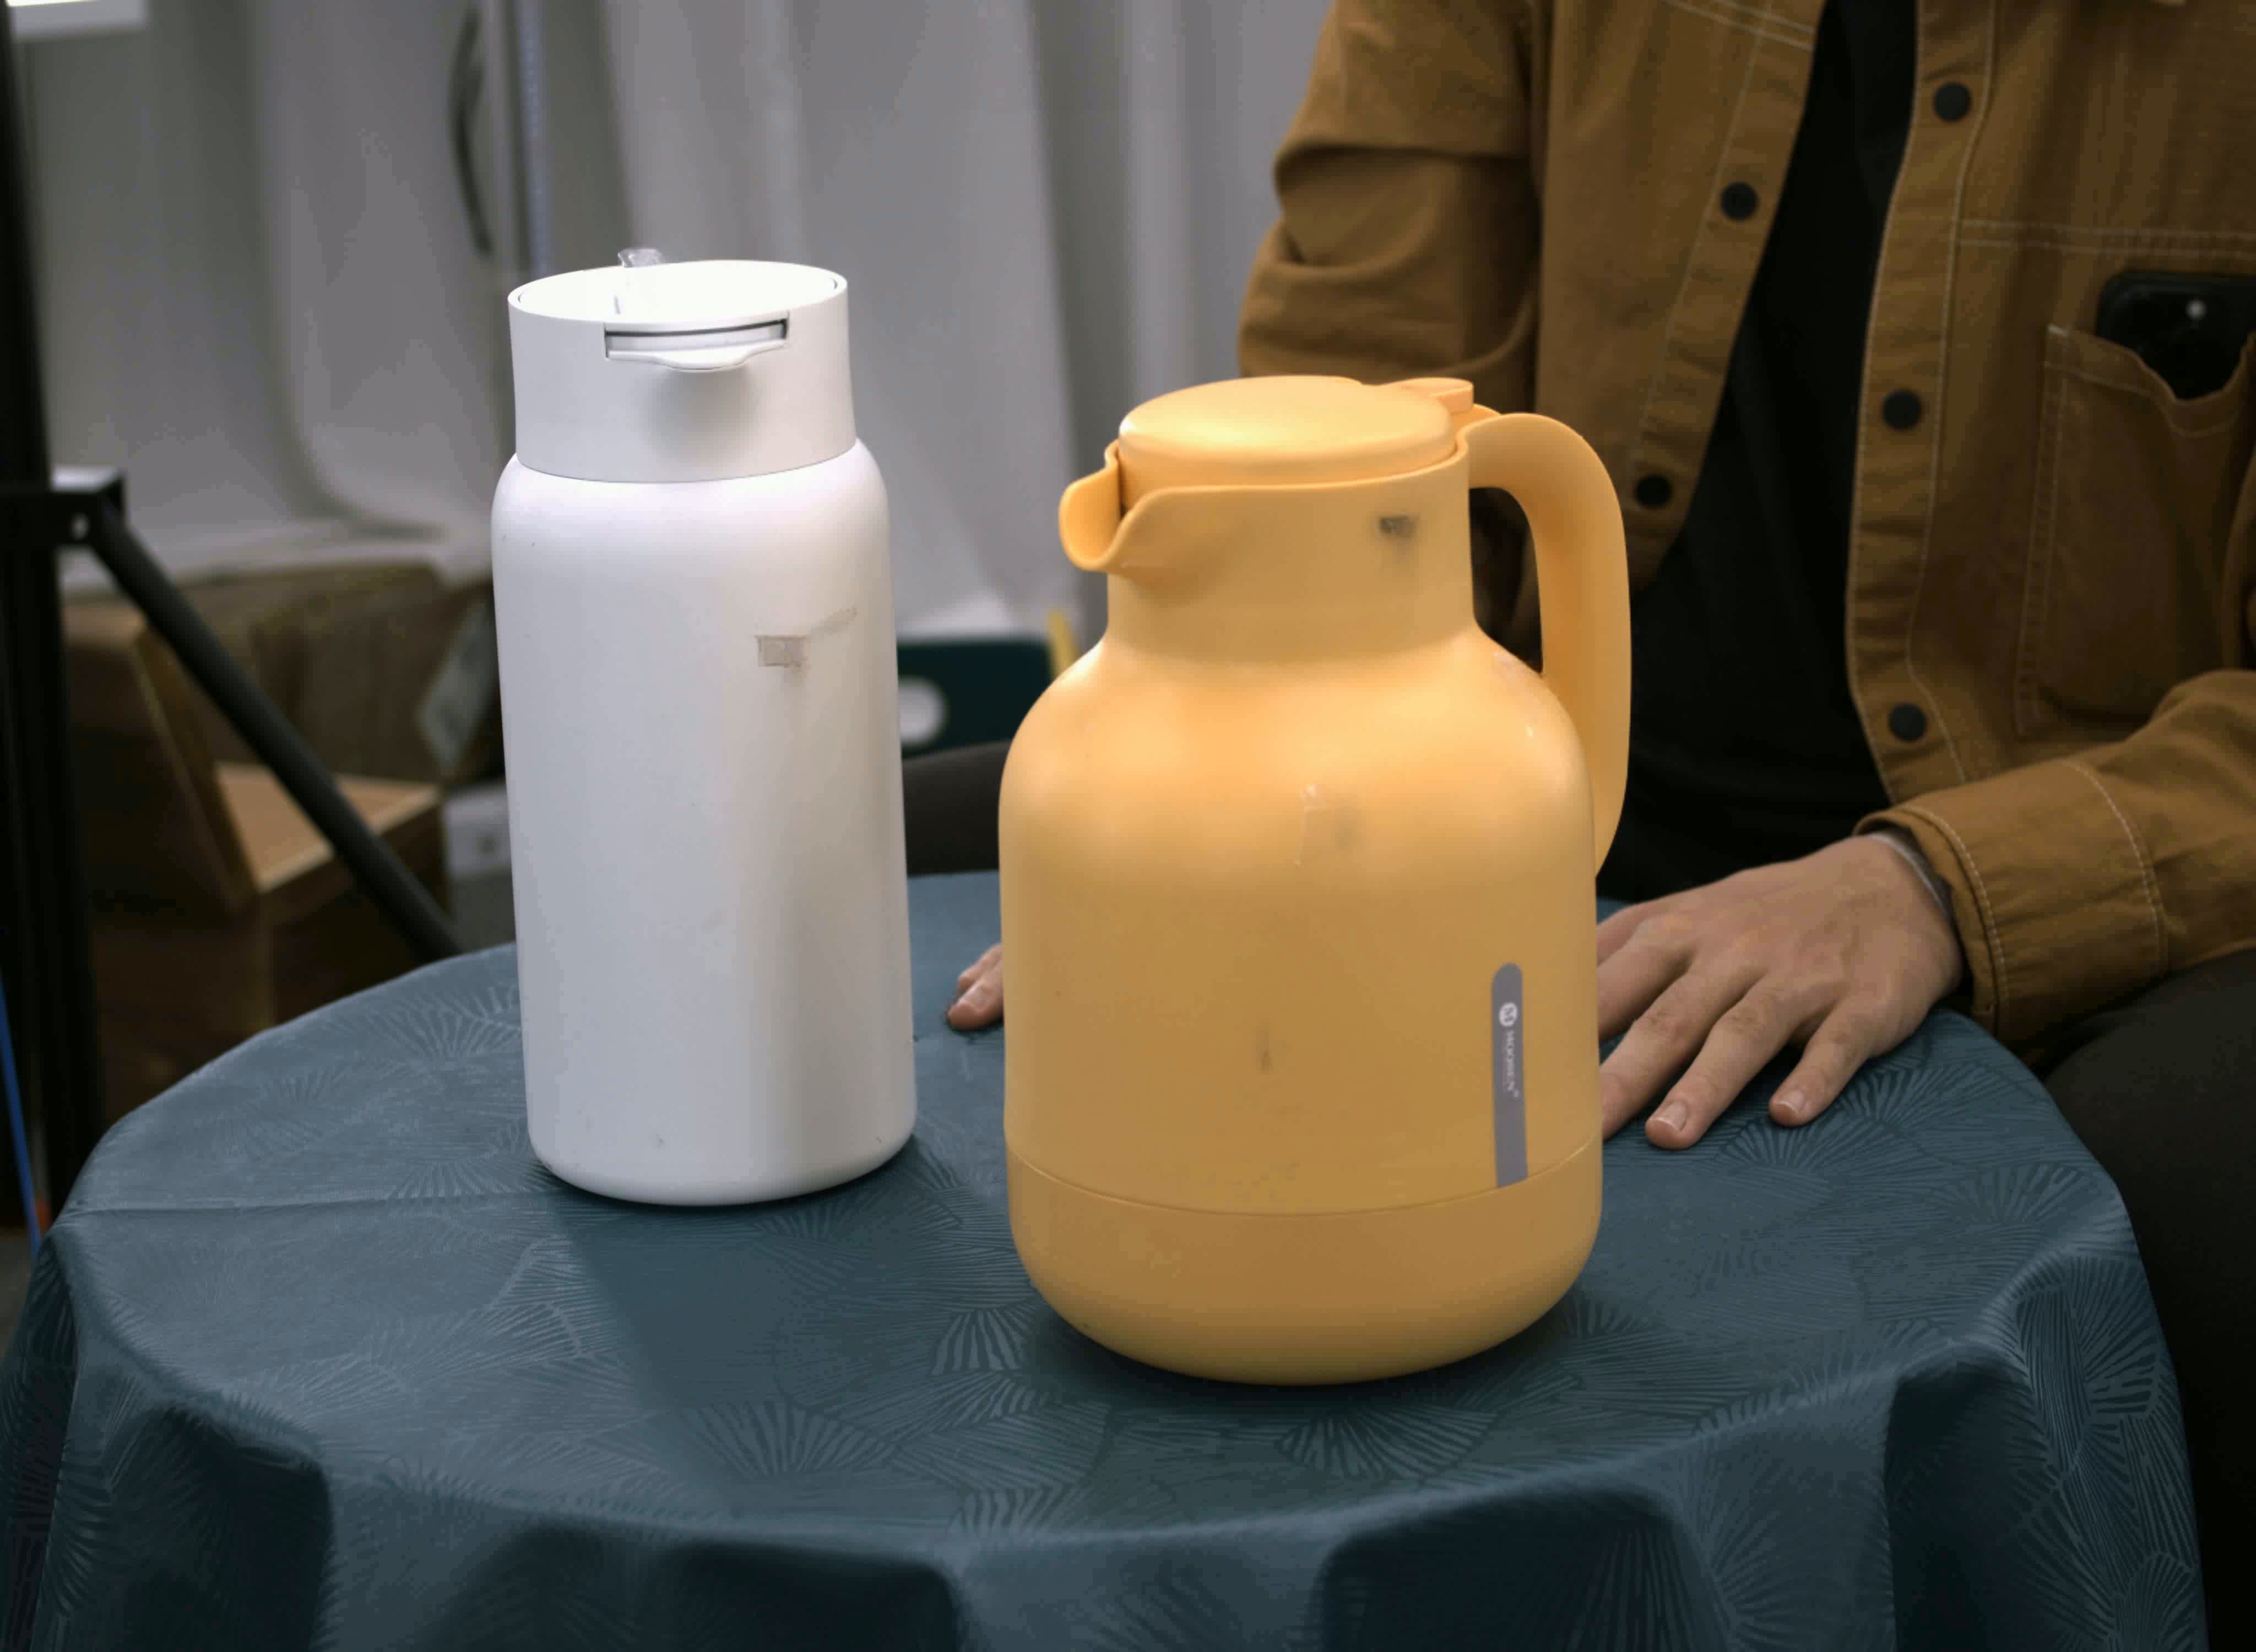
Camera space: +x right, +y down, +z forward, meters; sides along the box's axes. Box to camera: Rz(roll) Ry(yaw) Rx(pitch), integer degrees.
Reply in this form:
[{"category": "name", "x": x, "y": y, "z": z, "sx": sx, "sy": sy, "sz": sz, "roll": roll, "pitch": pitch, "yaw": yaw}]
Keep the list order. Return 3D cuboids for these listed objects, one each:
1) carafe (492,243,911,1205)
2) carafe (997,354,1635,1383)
[{"category": "carafe", "x": -0.131, "y": -0.034, "z": 1.591, "sx": 0.122, "sy": 0.269, "sz": 0.175, "roll": -7, "pitch": 16, "yaw": -11}, {"category": "carafe", "x": 0.061, "y": 0.004, "z": 1.430, "sx": 0.198, "sy": 0.260, "sz": 0.167, "roll": -16, "pitch": 23, "yaw": -37}]
